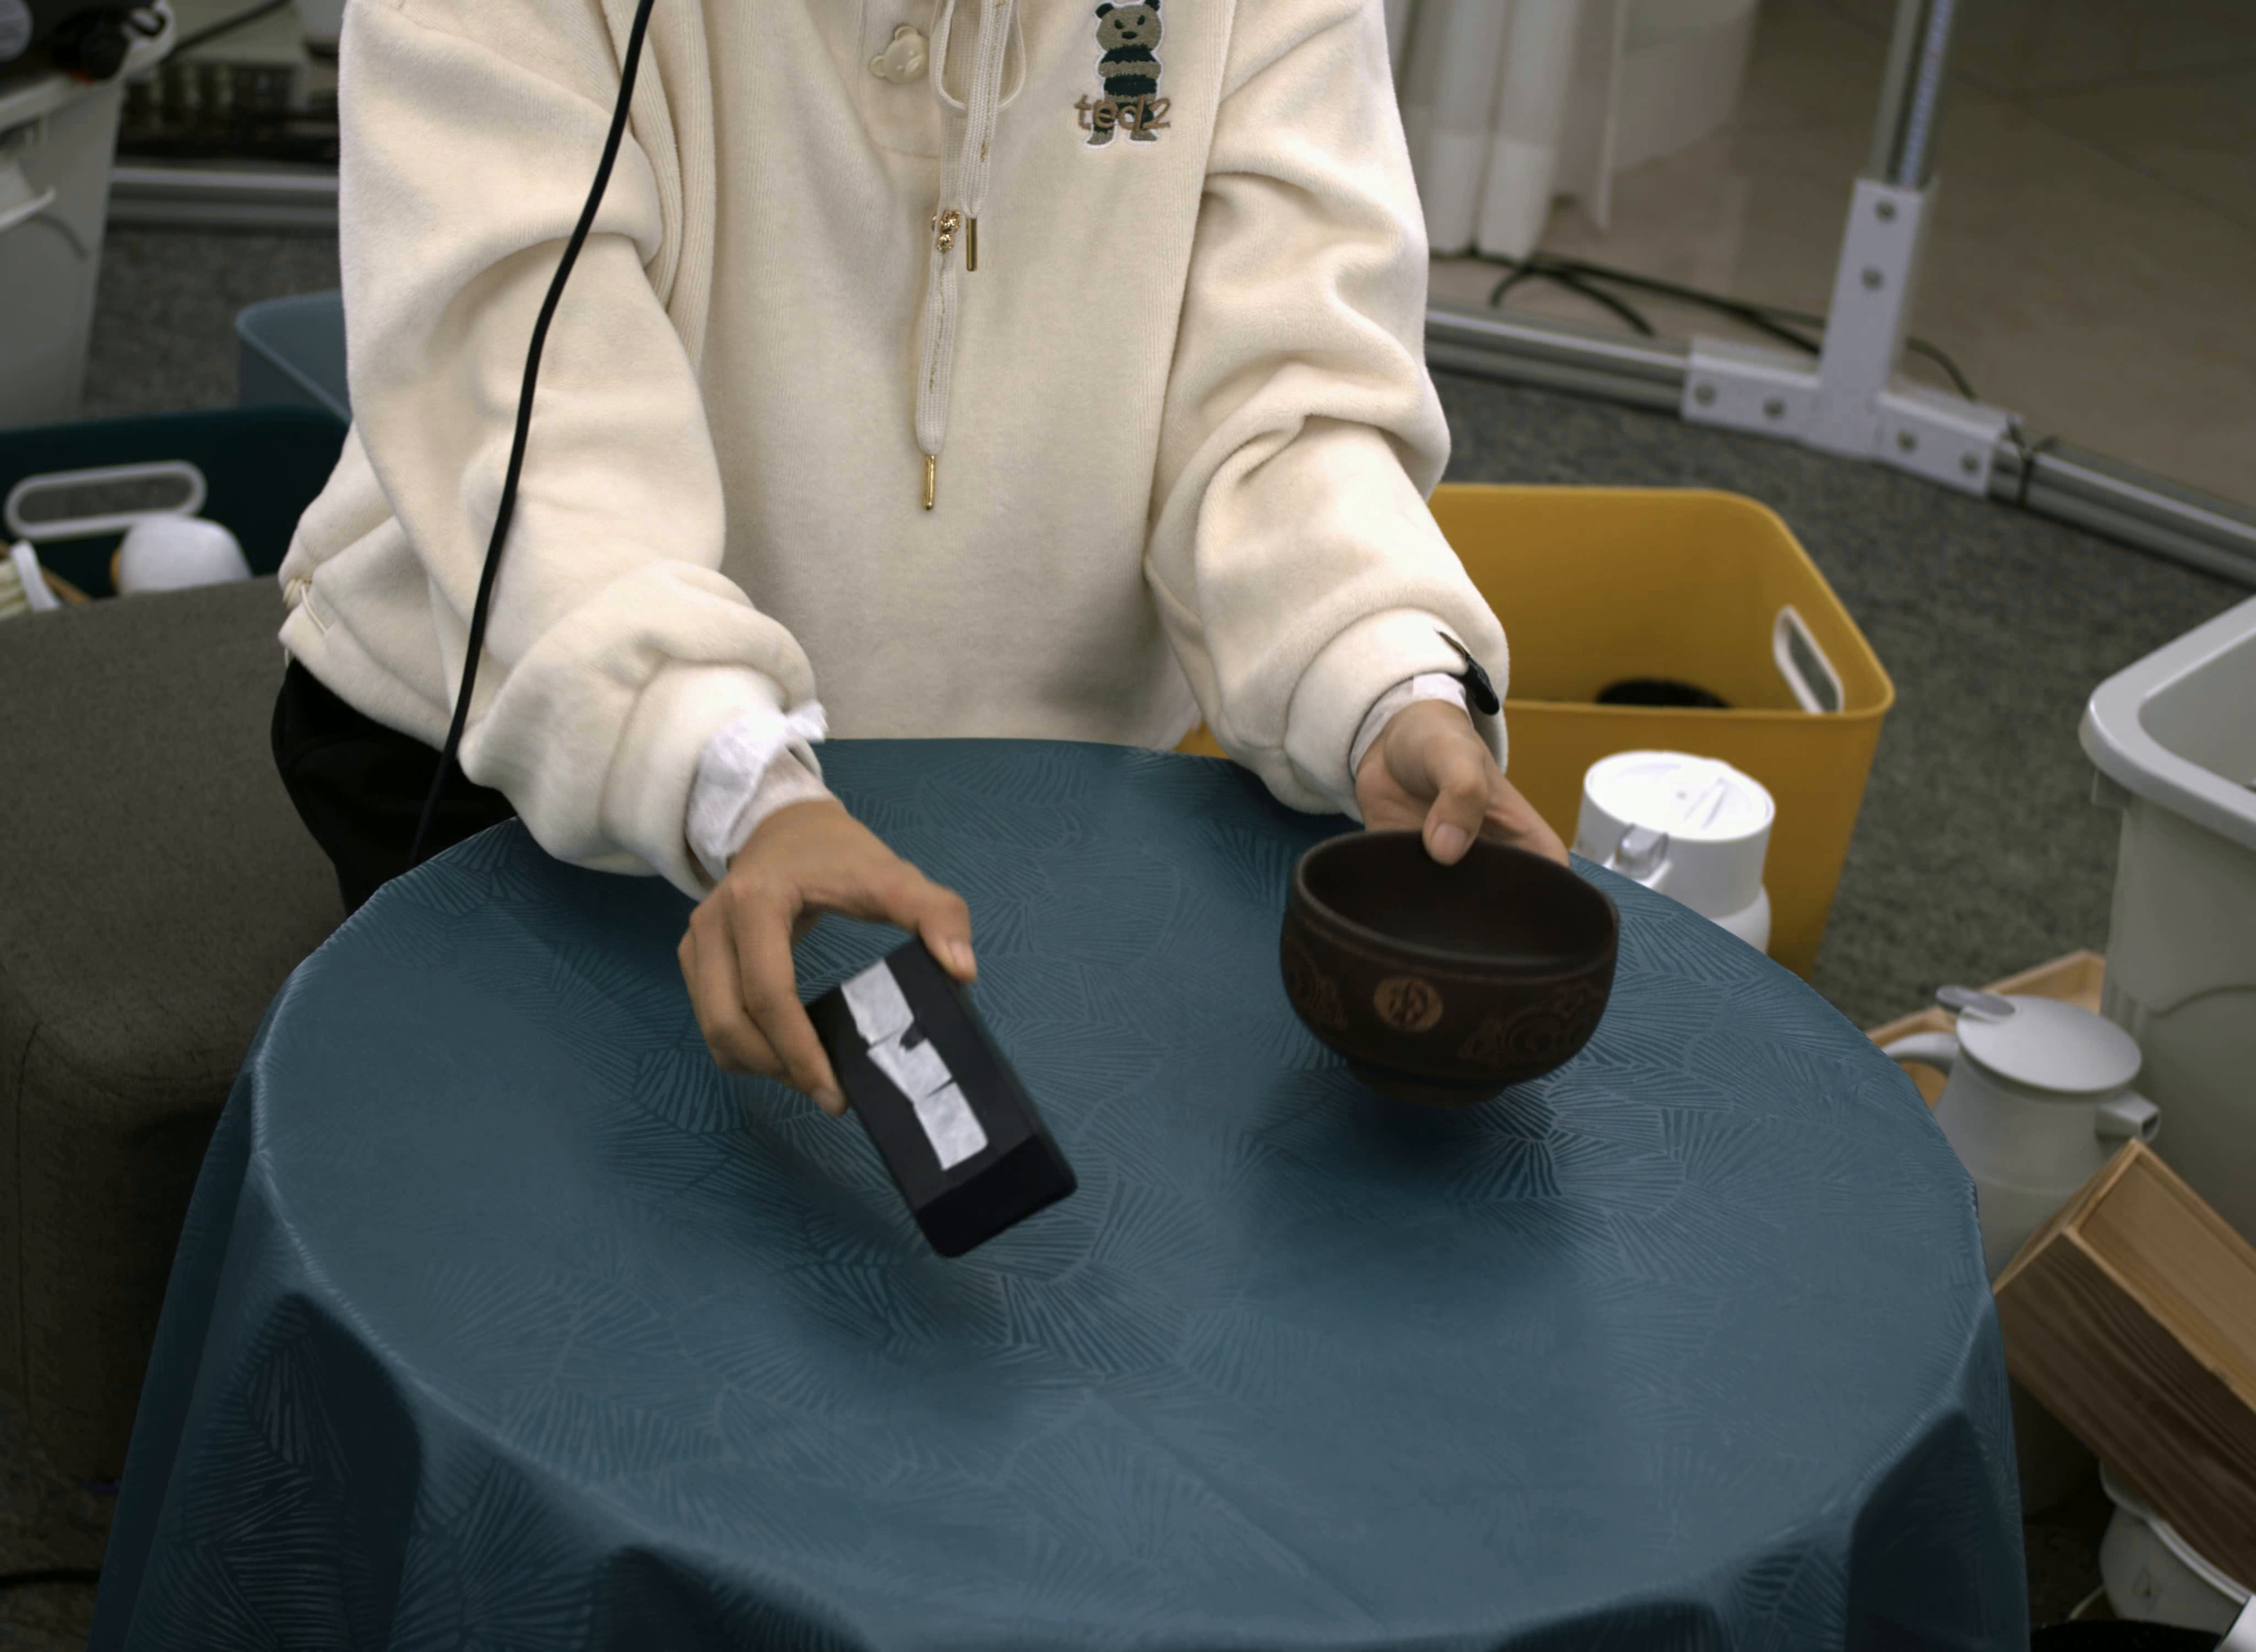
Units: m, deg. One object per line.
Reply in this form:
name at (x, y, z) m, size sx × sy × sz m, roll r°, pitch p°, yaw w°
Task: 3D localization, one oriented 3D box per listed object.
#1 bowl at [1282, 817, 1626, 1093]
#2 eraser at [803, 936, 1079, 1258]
bowl at (0.110, 0.050, 1.848) m, size 0.117 × 0.070 × 0.118 m, roll 7°, pitch 20°, yaw -3°
eraser at (-0.061, 0.087, 1.739) m, size 0.053 × 0.030 × 0.126 m, roll -33°, pitch 37°, yaw -2°
